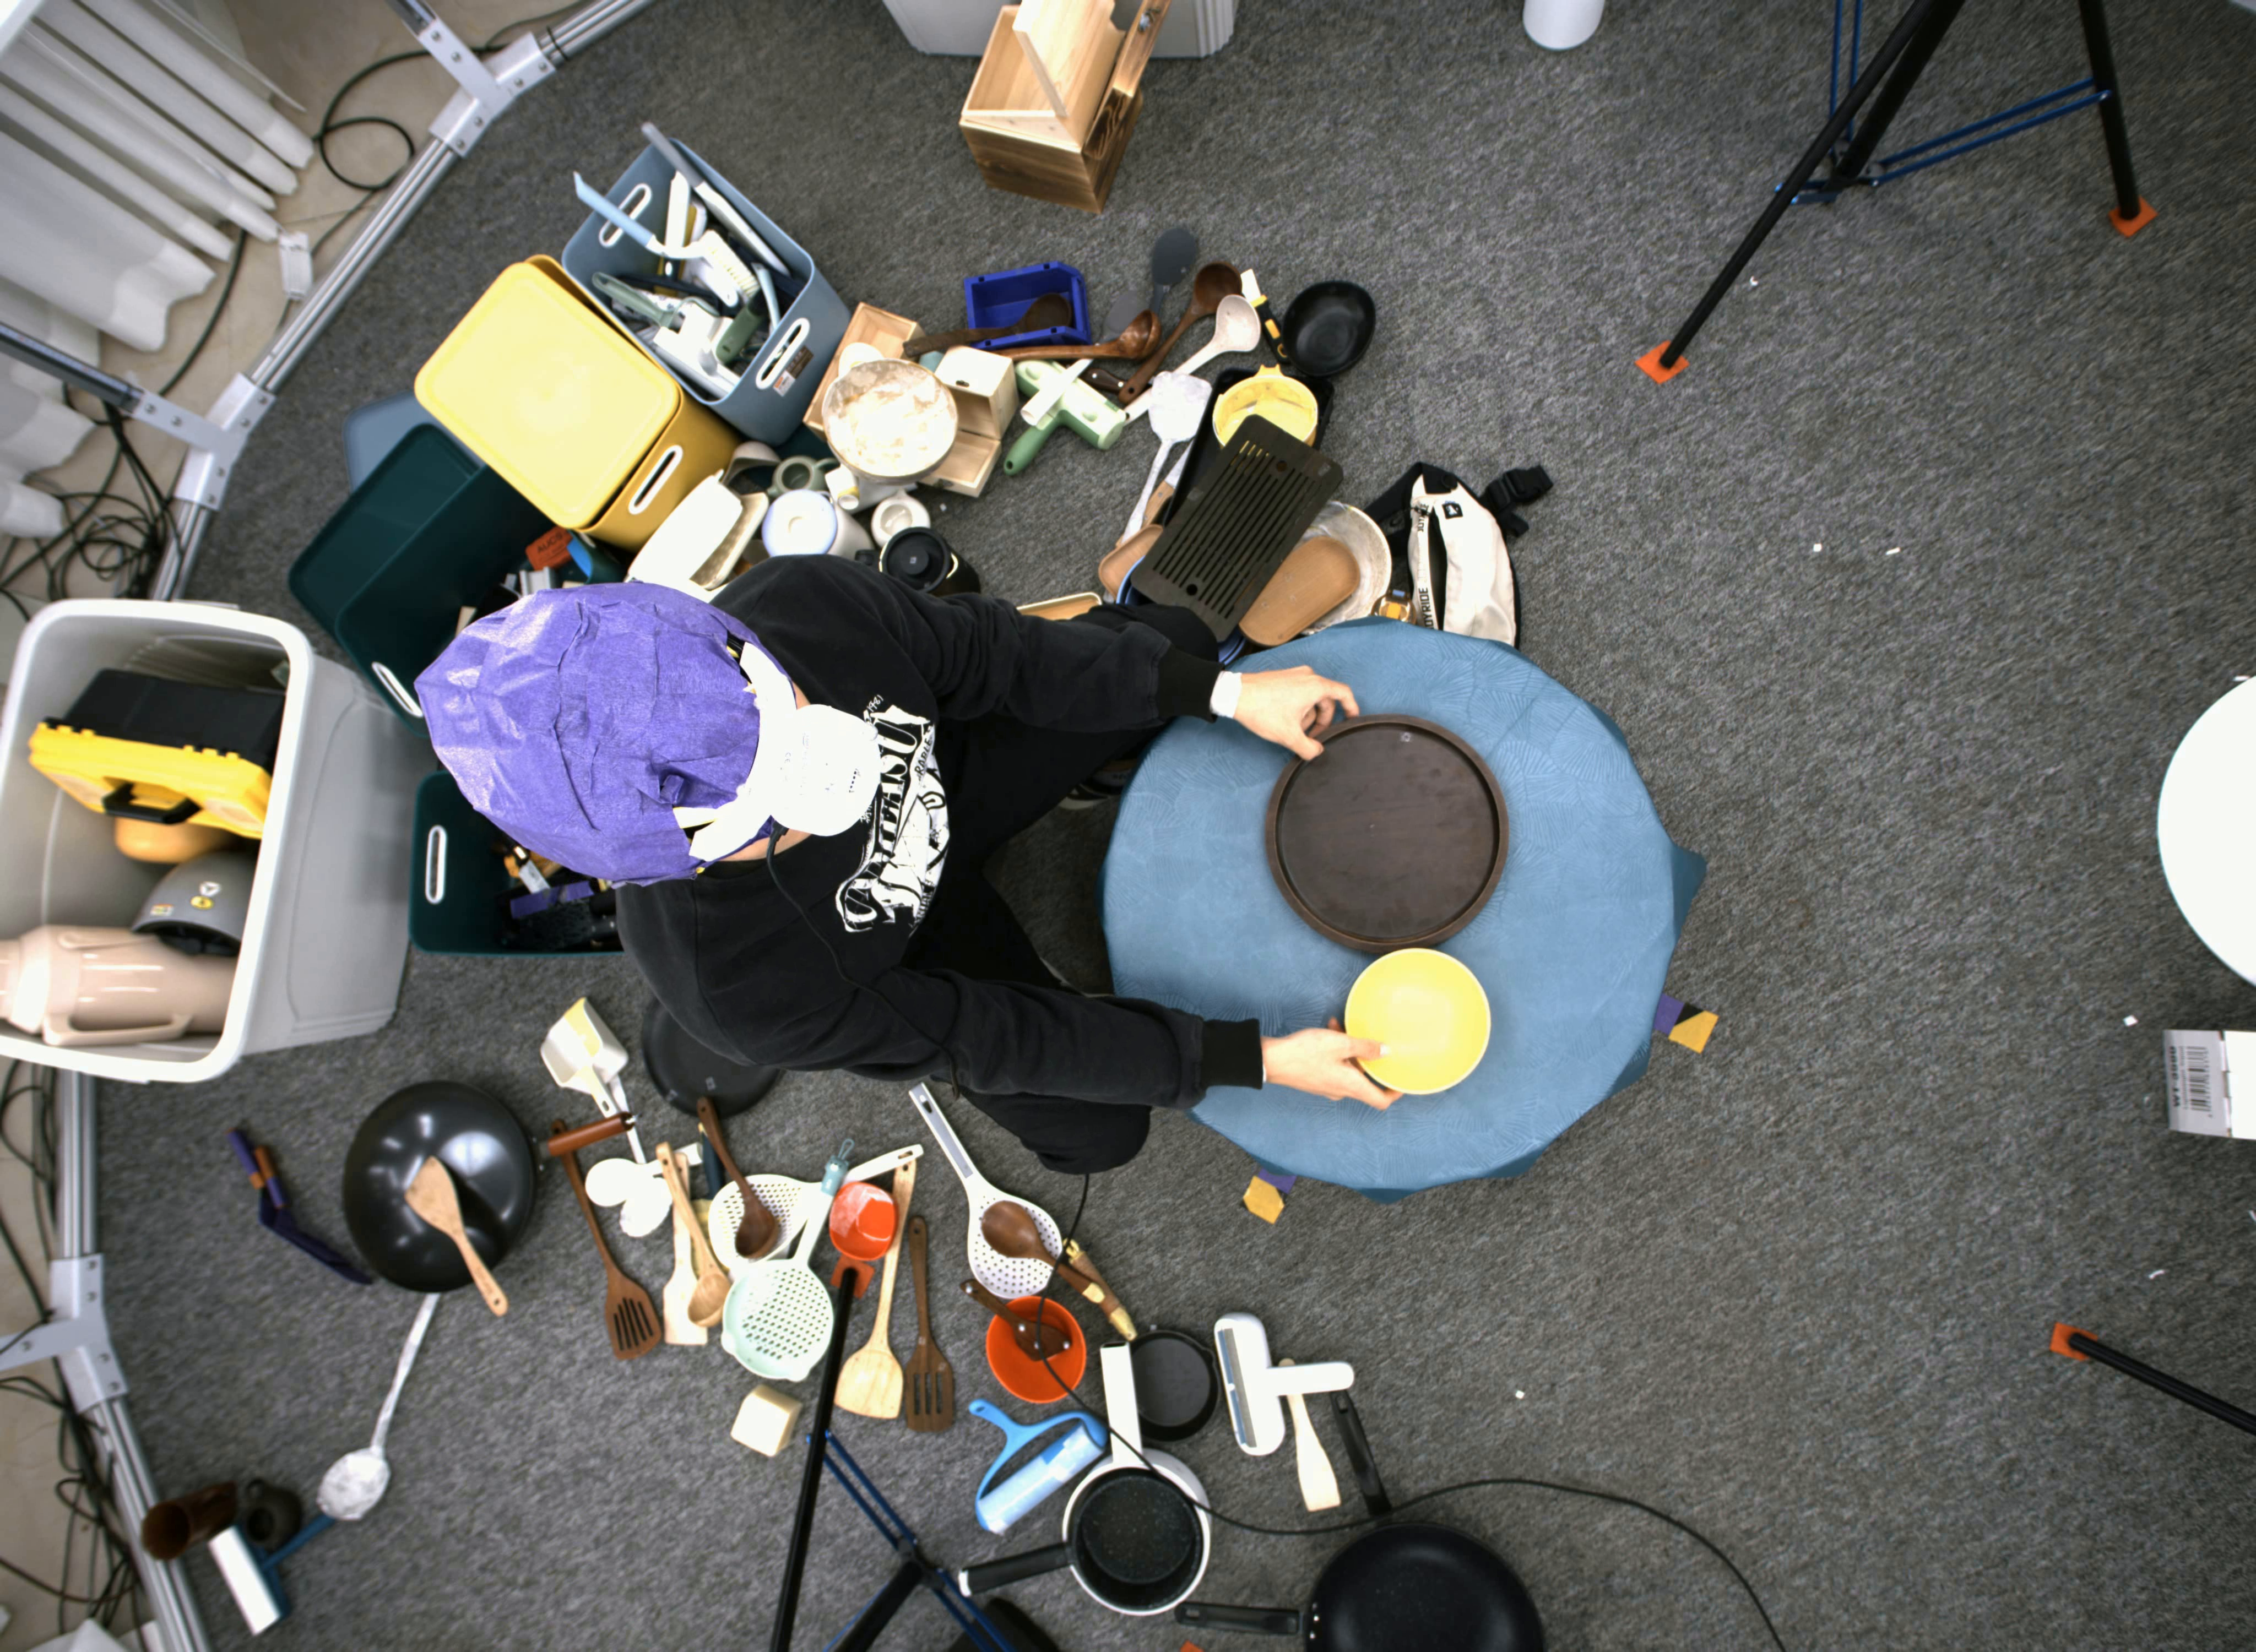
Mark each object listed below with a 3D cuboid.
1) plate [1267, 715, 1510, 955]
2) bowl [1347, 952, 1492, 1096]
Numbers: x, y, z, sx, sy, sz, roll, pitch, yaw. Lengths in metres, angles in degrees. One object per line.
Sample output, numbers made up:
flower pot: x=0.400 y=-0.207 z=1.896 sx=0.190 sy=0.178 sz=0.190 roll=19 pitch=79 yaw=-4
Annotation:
plate: x=0.274 y=0.008 z=1.455 sx=0.256 sy=0.029 sz=0.254 roll=0 pitch=89 yaw=10
bowl: x=0.300 y=0.202 z=1.422 sx=0.146 sy=0.060 sz=0.144 roll=-2 pitch=83 yaw=12
